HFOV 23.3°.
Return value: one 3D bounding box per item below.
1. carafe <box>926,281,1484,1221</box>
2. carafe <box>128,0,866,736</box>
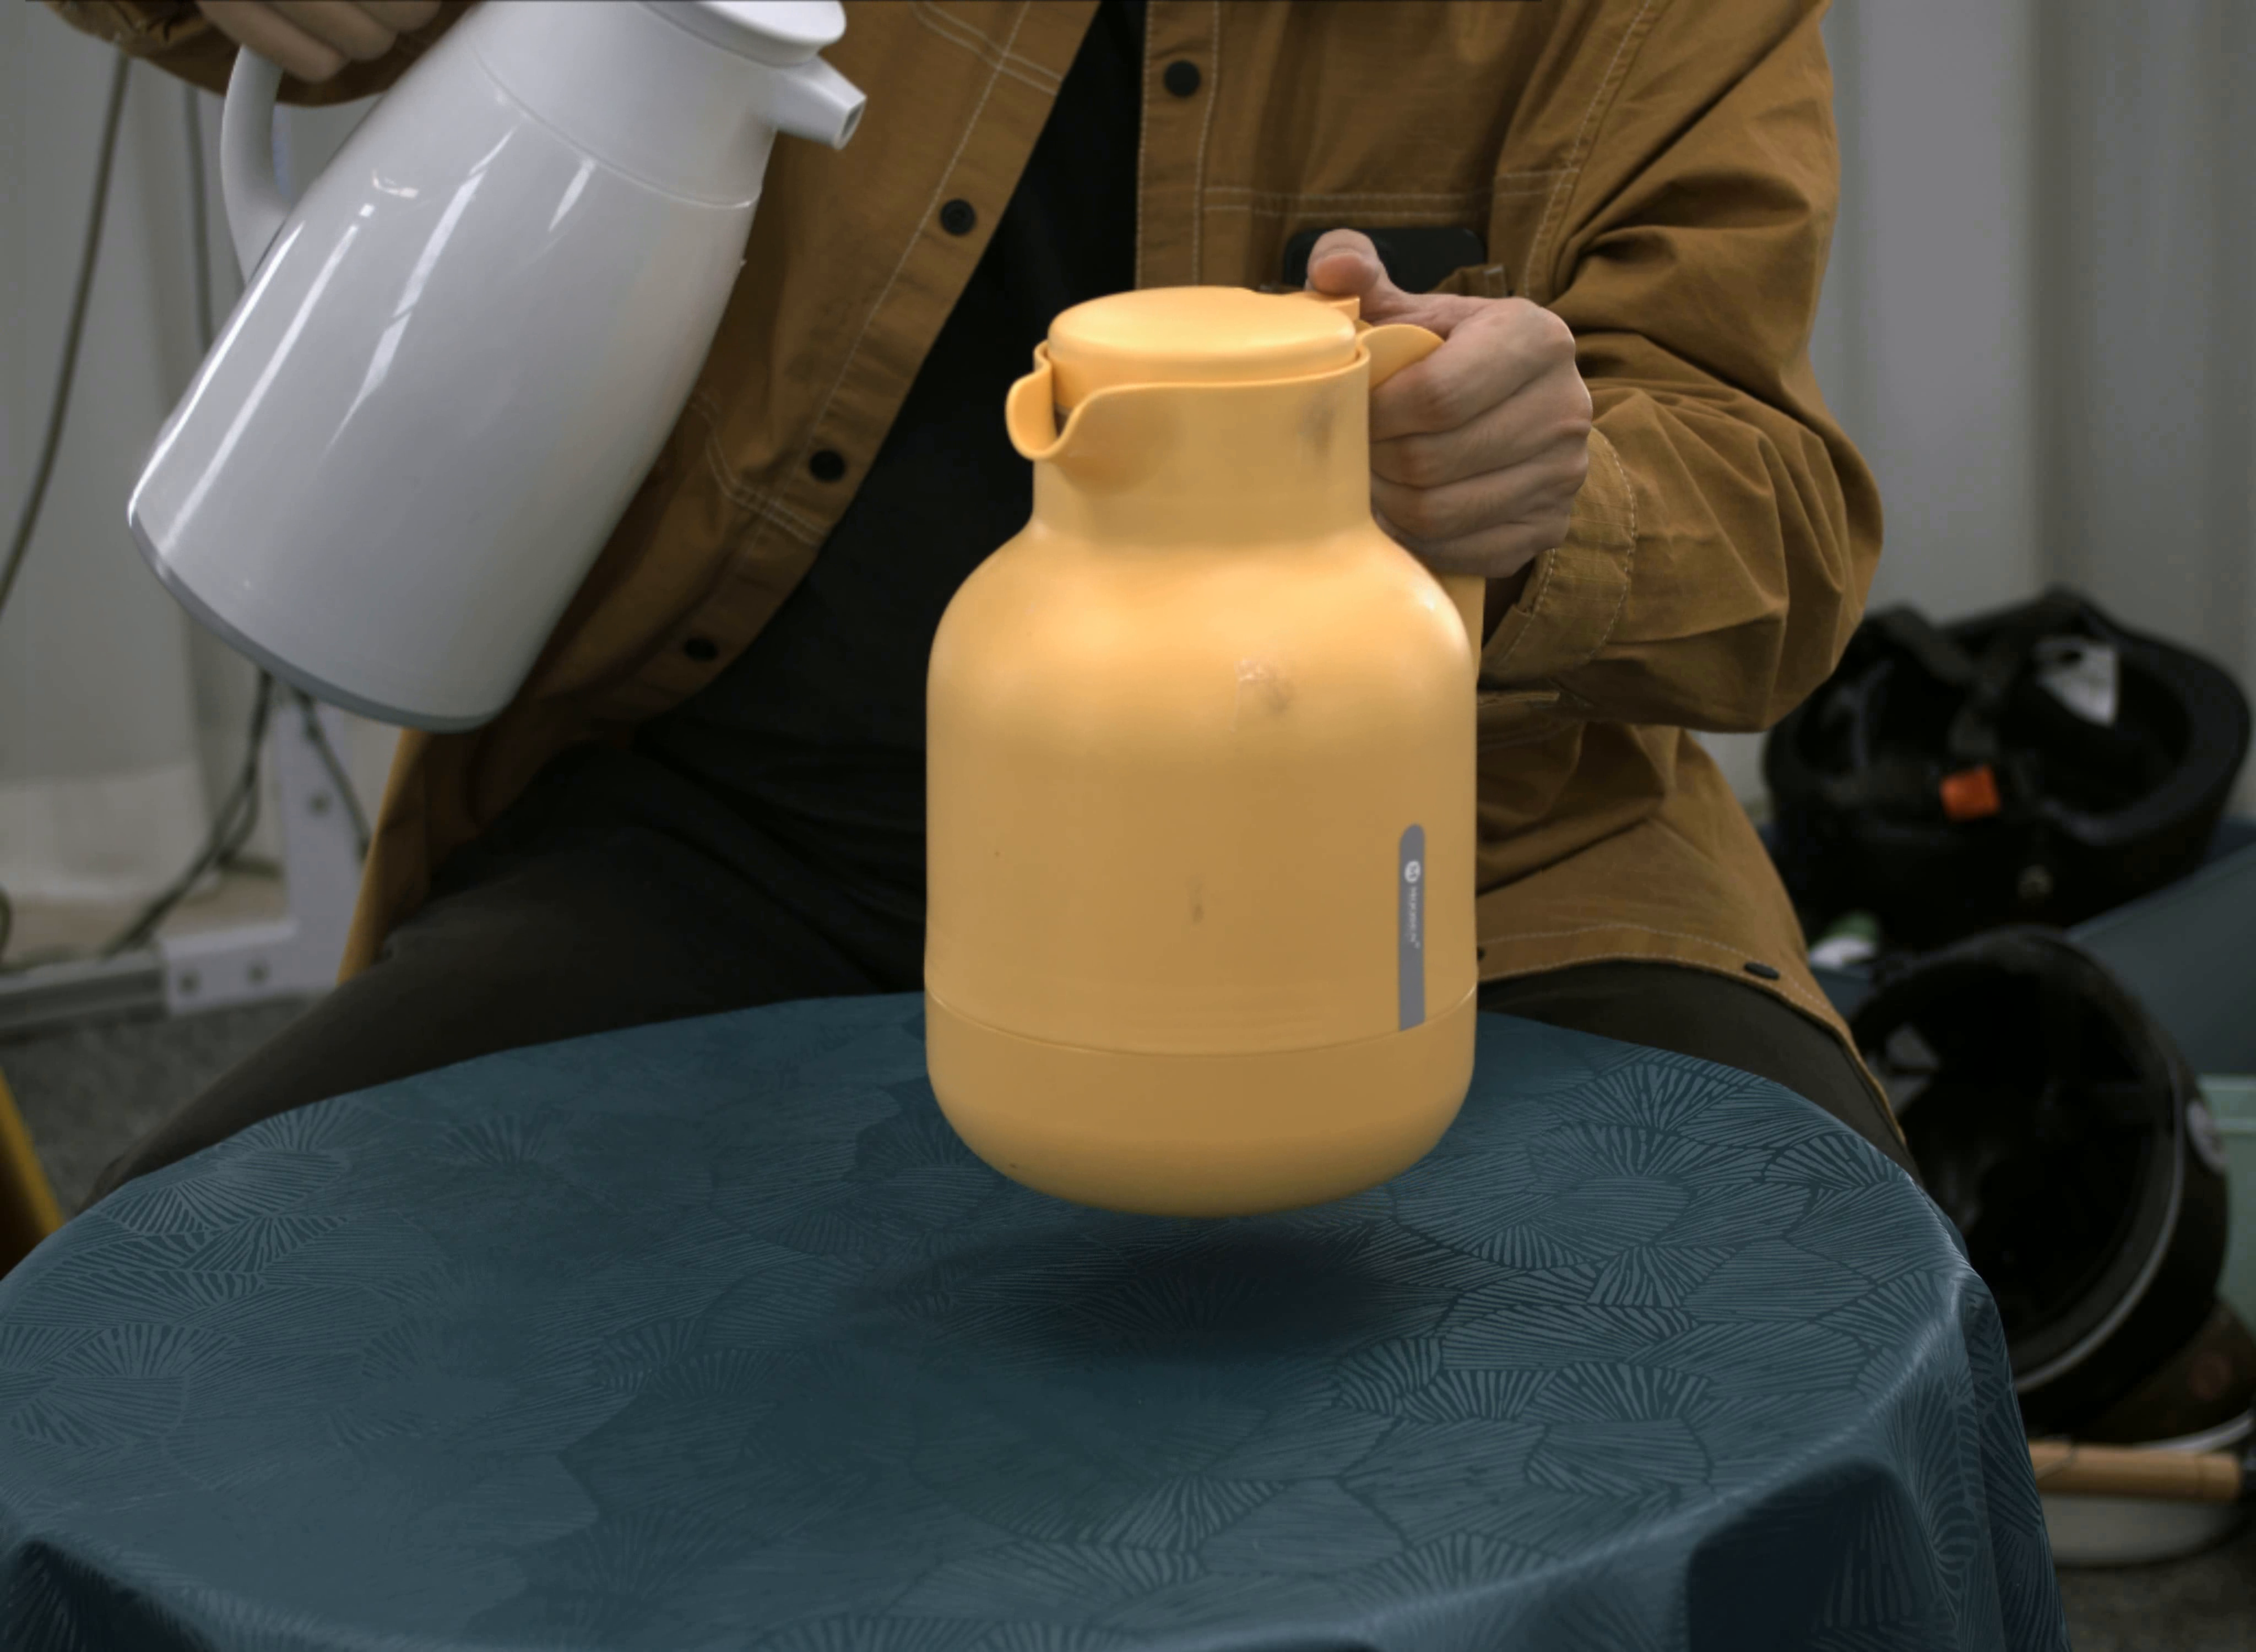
[{"bbox_3d":[0.035,-0.030,1.603,0.164,0.259,0.202,15,22,40],"label":"carafe"},{"bbox_3d":[-0.197,-0.173,1.620,0.167,0.247,0.133,34,22,1],"label":"carafe"}]
